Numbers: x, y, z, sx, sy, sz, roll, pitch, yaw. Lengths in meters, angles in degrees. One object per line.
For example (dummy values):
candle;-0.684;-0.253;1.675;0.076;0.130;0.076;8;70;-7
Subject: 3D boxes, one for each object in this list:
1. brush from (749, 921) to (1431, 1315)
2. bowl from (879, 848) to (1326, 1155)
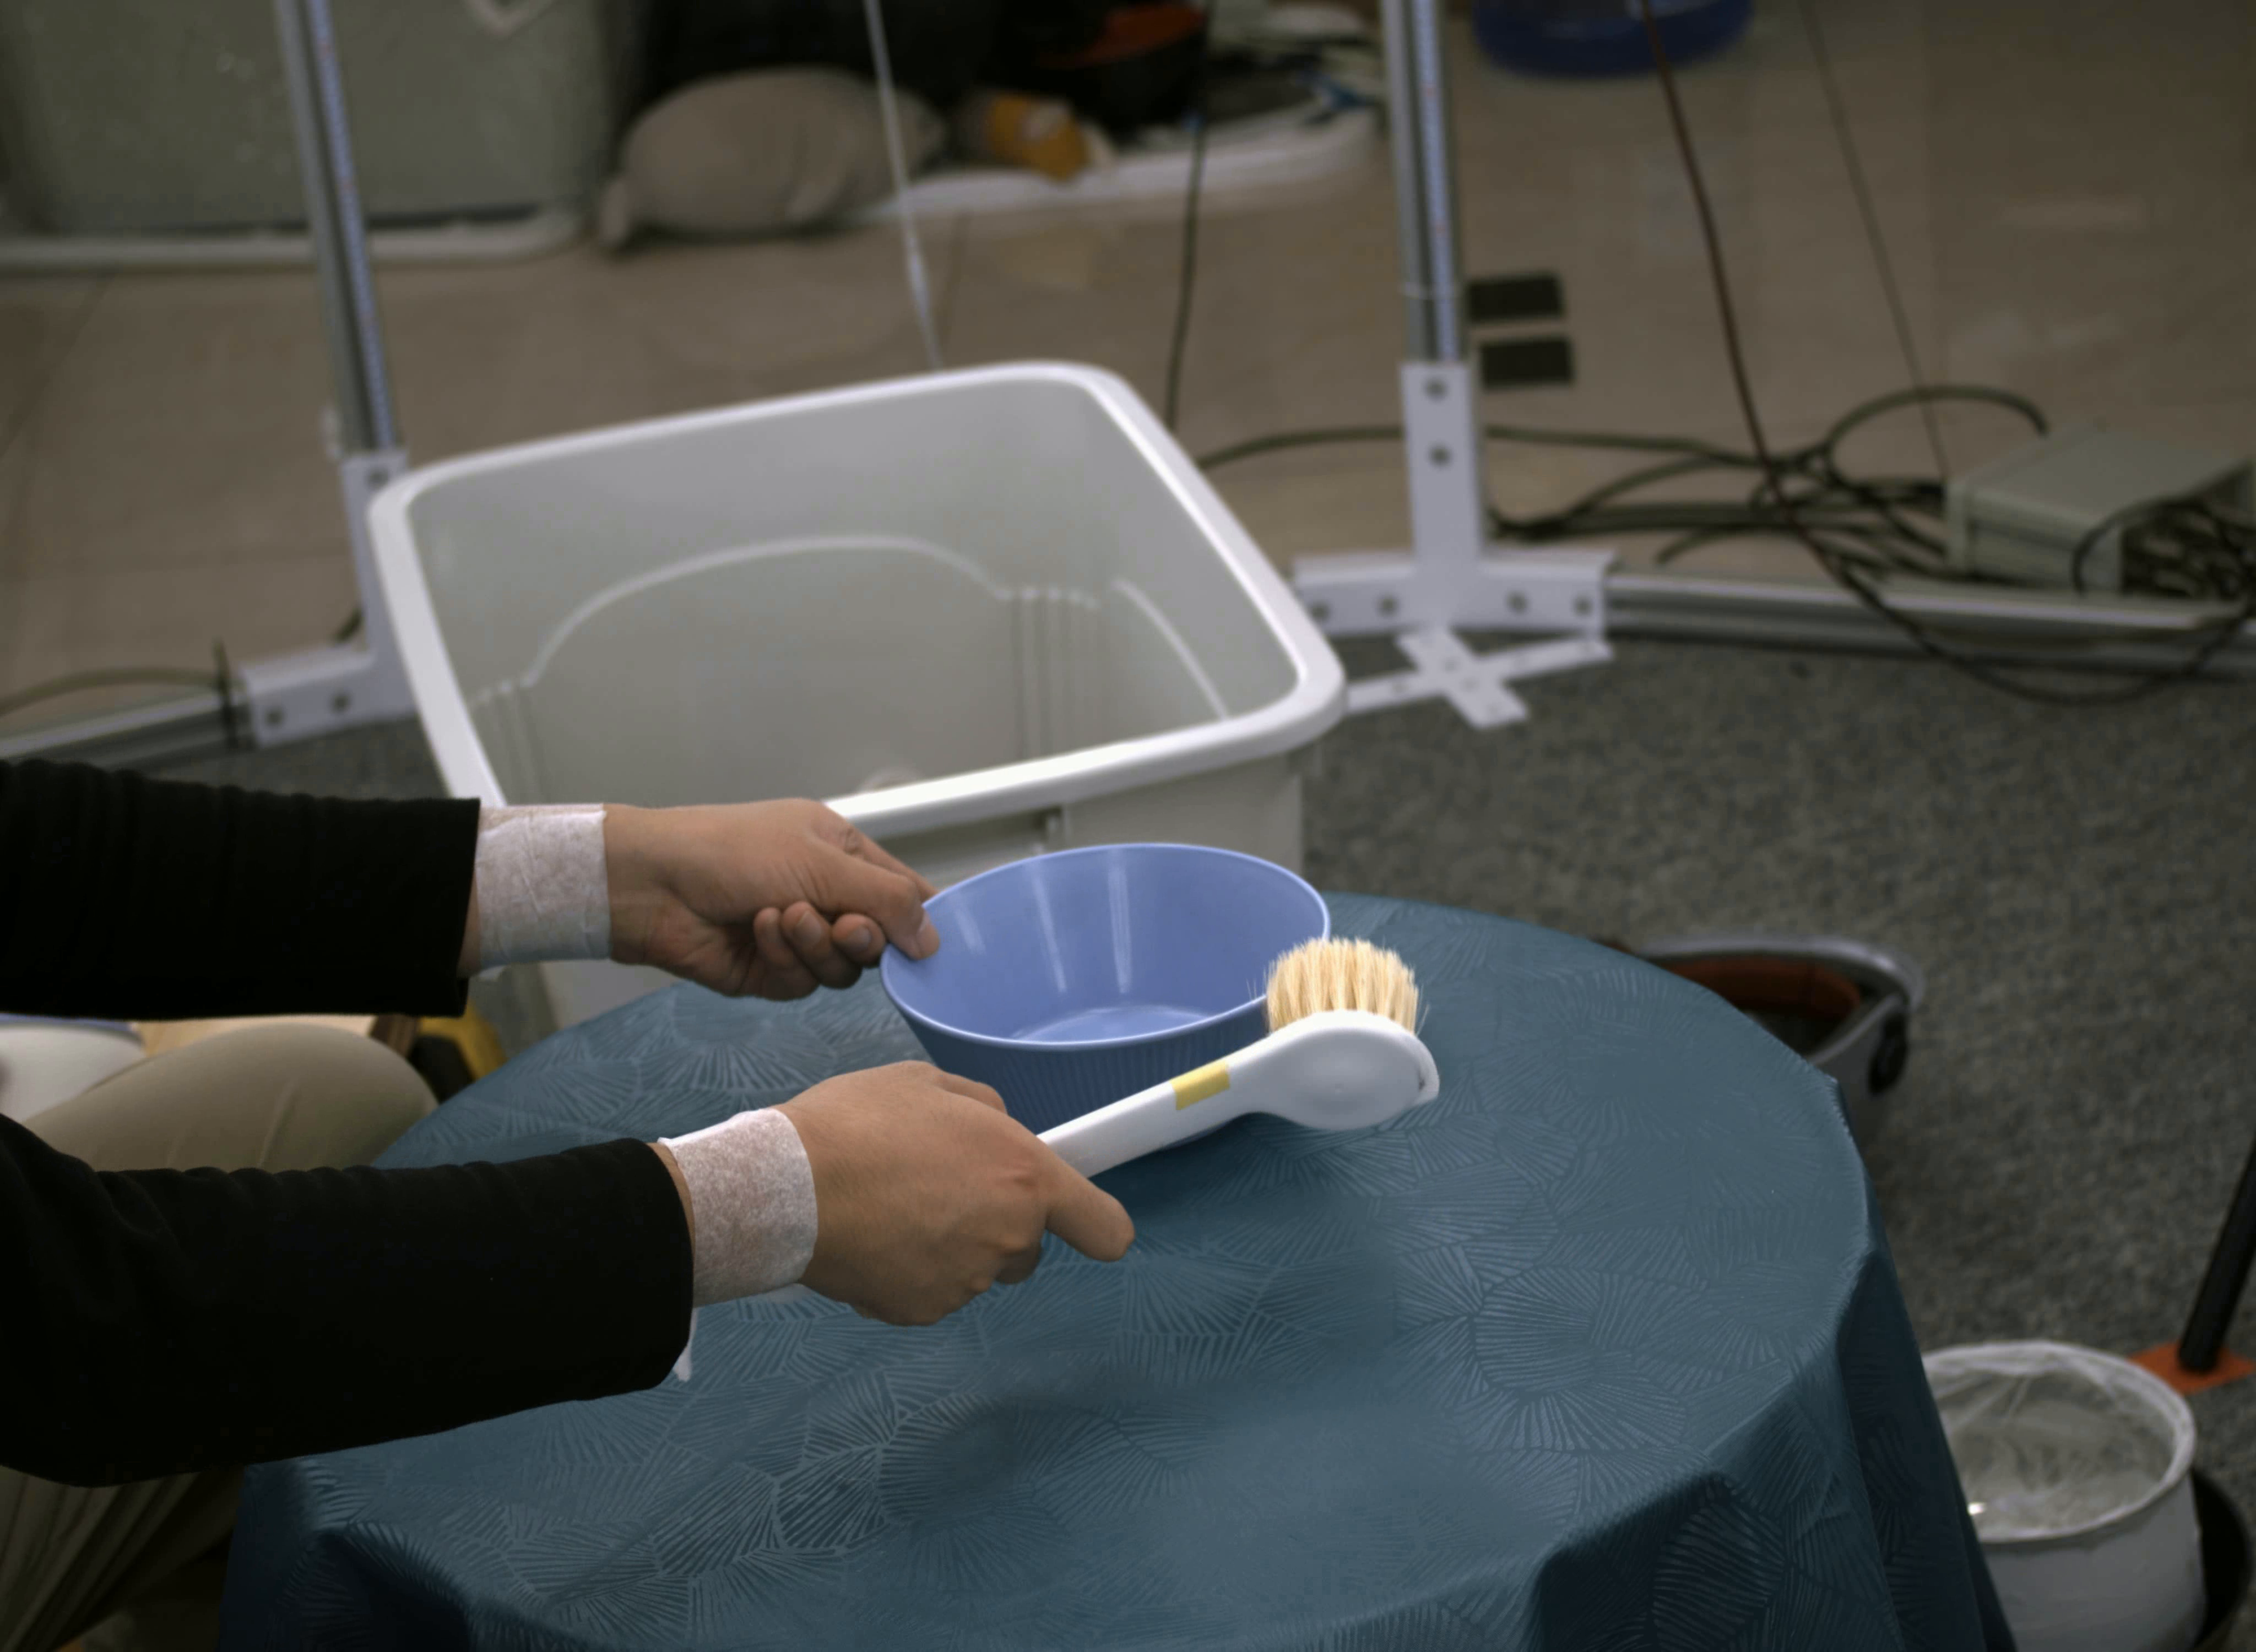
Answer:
brush;-0.017;0.103;2.005;0.265;0.070;0.055;-20;46;-11
bowl;-0.007;0.074;2.204;0.176;0.071;0.173;-6;24;3
